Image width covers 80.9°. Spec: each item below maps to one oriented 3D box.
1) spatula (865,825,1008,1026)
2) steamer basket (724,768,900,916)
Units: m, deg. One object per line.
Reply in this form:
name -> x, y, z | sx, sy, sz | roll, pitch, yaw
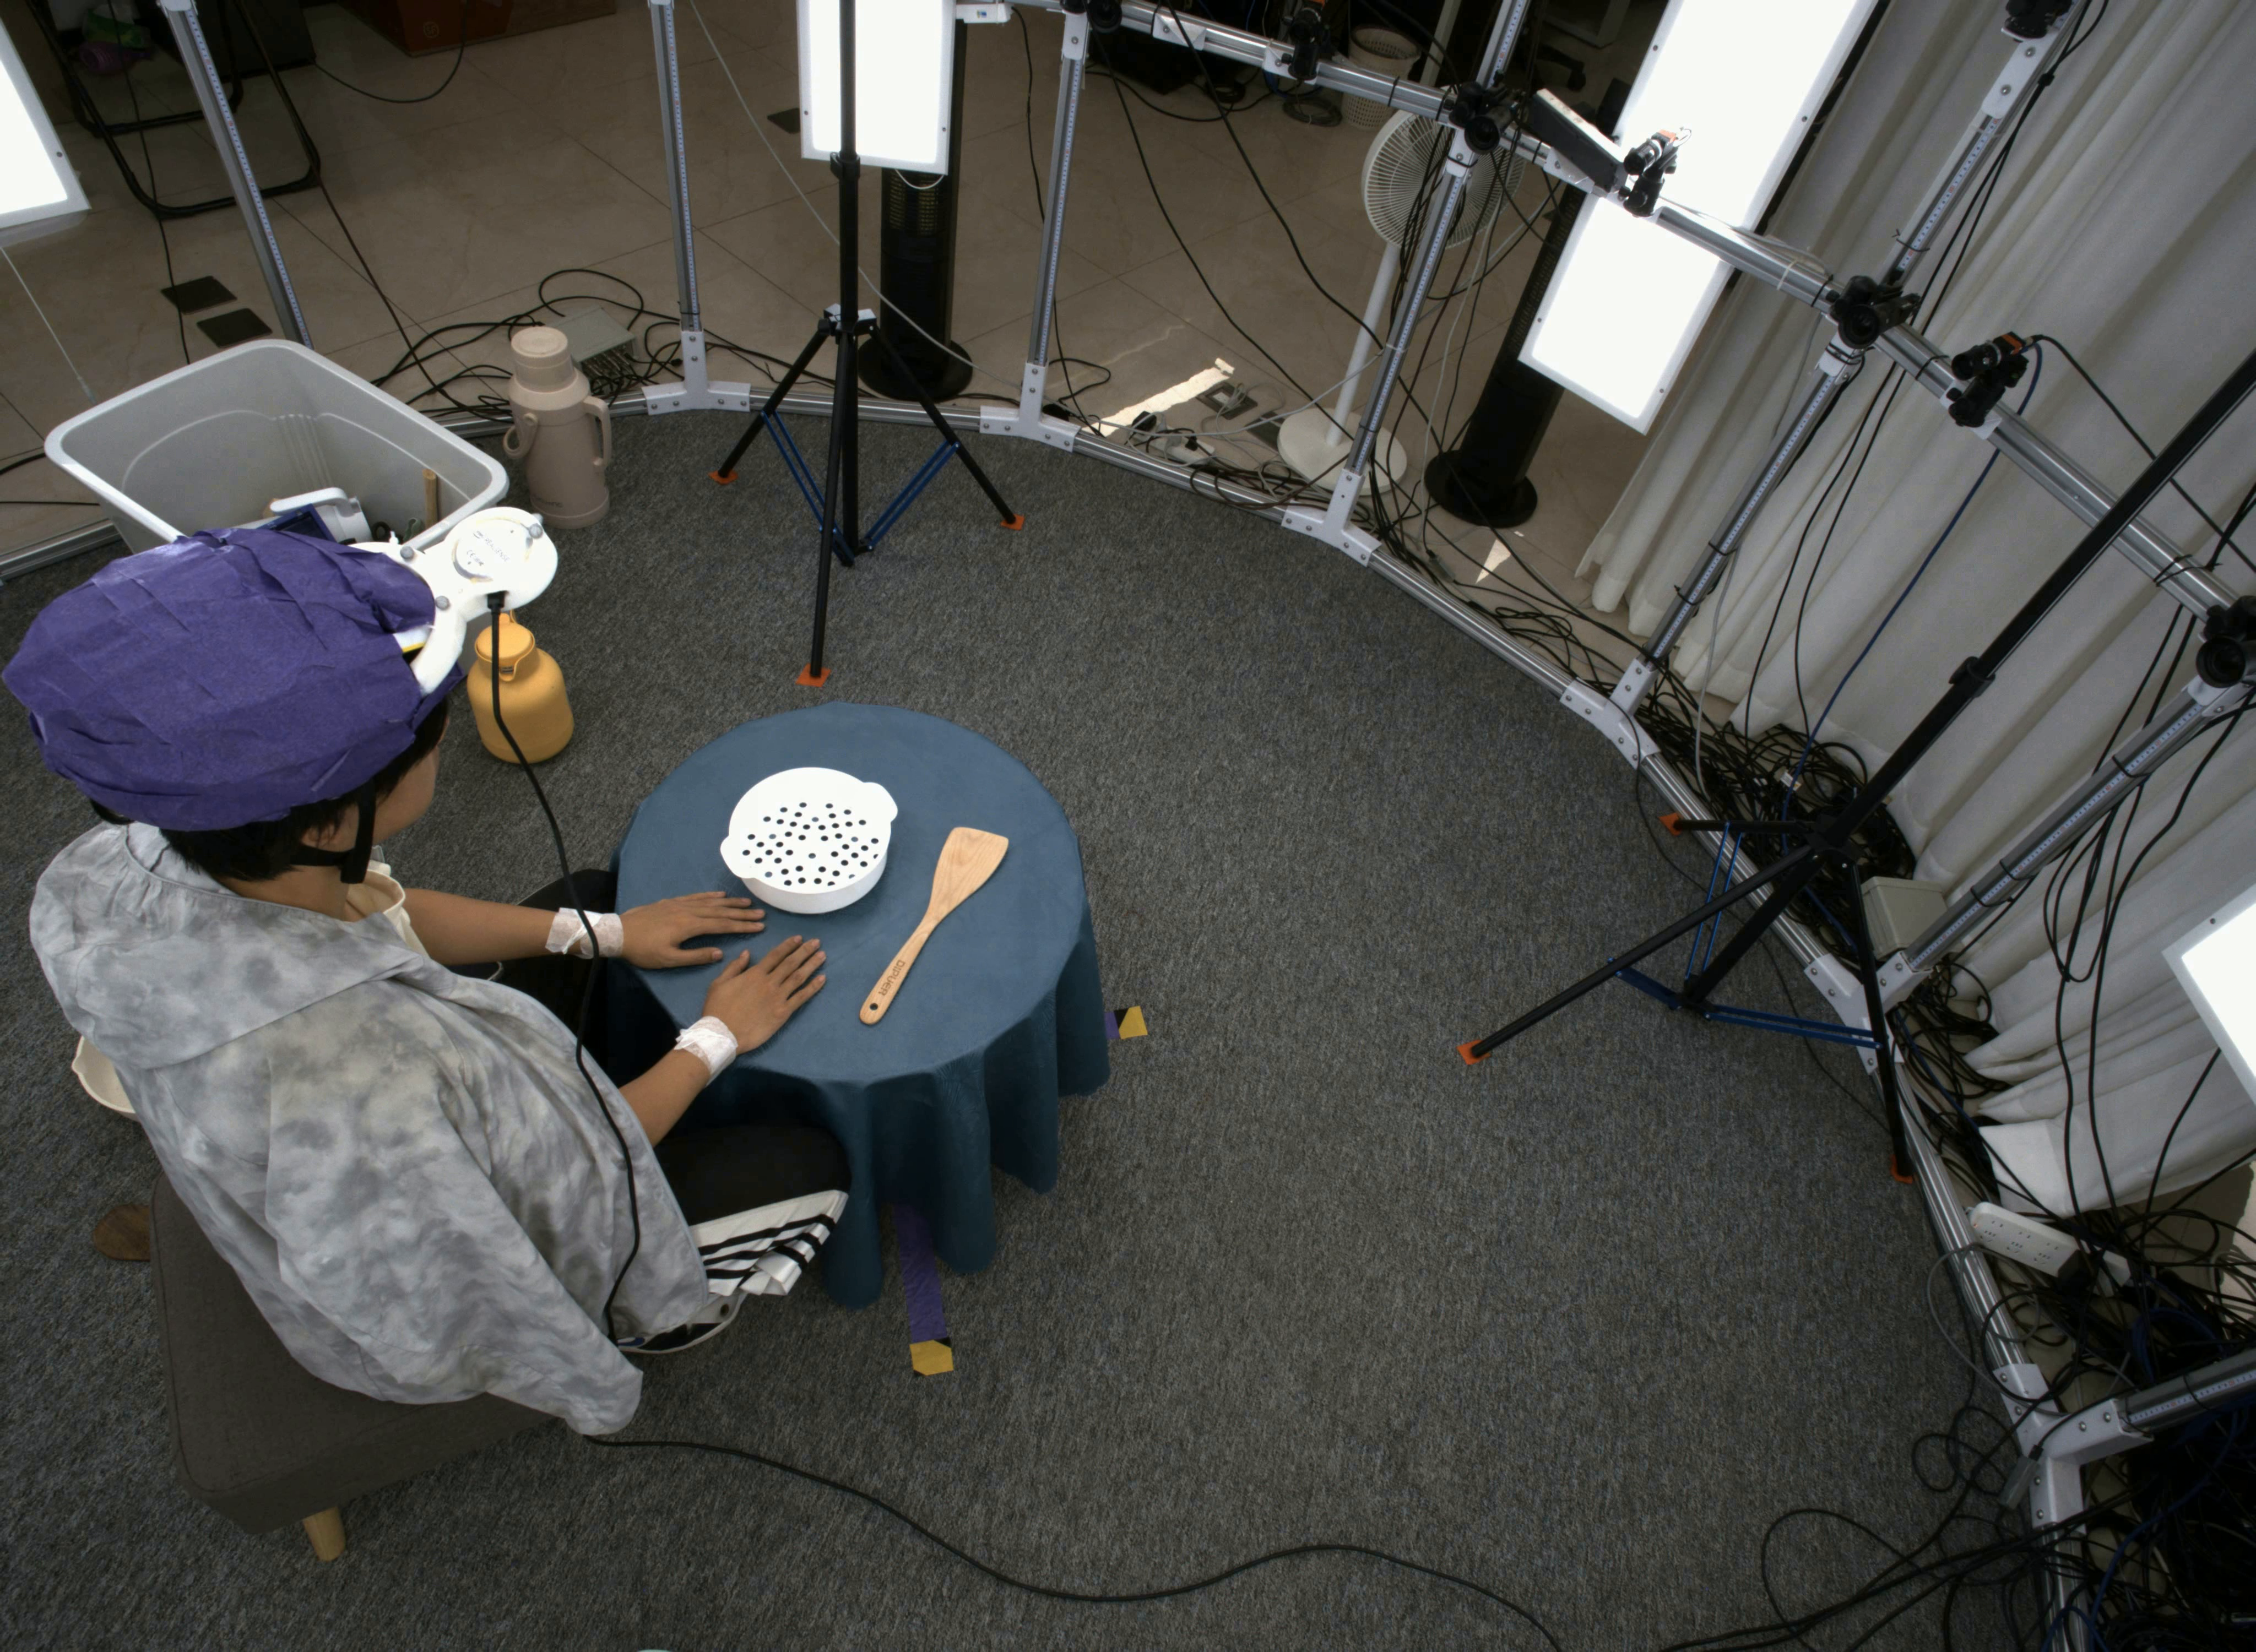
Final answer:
spatula -> -0.253, 0.120, 1.668 | 0.079, 0.017, 0.325 | 23, 52, 5
steamer basket -> -0.403, 0.020, 1.675 | 0.231, 0.071, 0.196 | -25, 61, -27
